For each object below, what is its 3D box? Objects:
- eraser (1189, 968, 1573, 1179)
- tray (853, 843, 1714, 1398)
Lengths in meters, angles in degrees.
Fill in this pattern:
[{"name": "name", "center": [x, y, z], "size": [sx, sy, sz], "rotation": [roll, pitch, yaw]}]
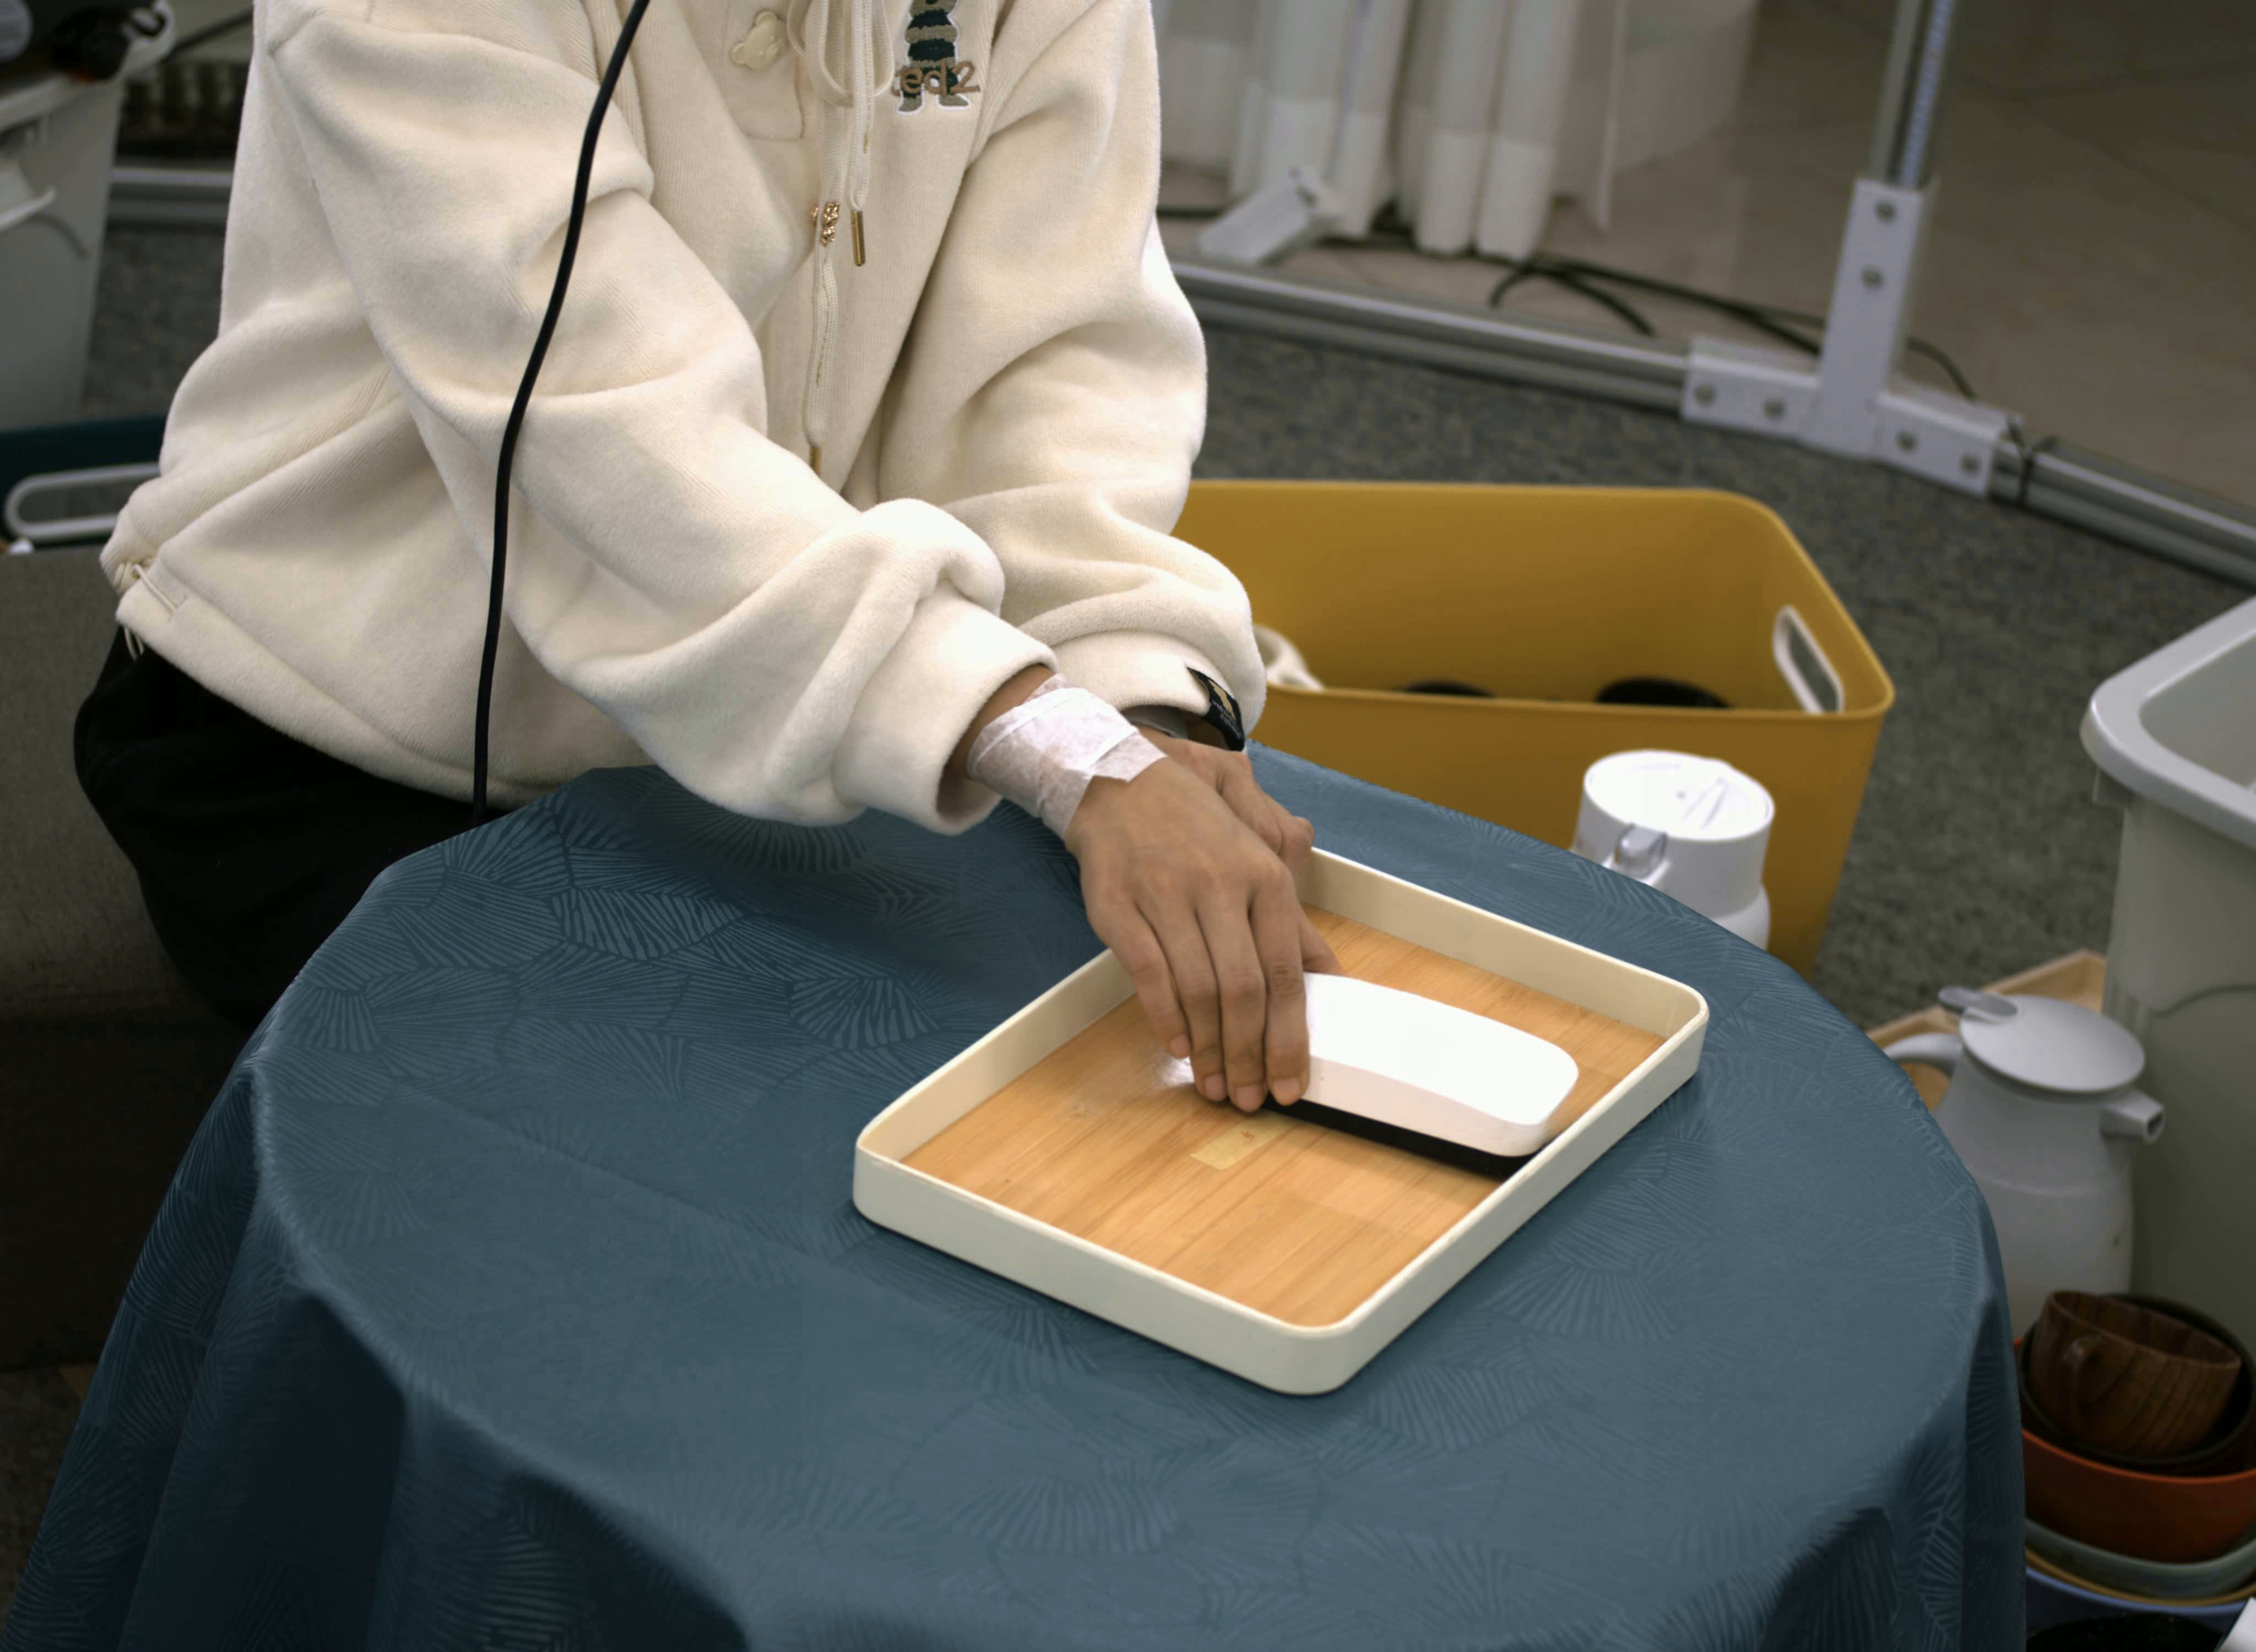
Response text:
[{"name": "eraser", "center": [0.088, 0.083, 1.854], "size": [0.131, 0.034, 0.063], "rotation": [17, 28, 19]}, {"name": "tray", "center": [0.059, 0.095, 1.841], "size": [0.192, 0.027, 0.299], "rotation": [21, 30, 25]}]
